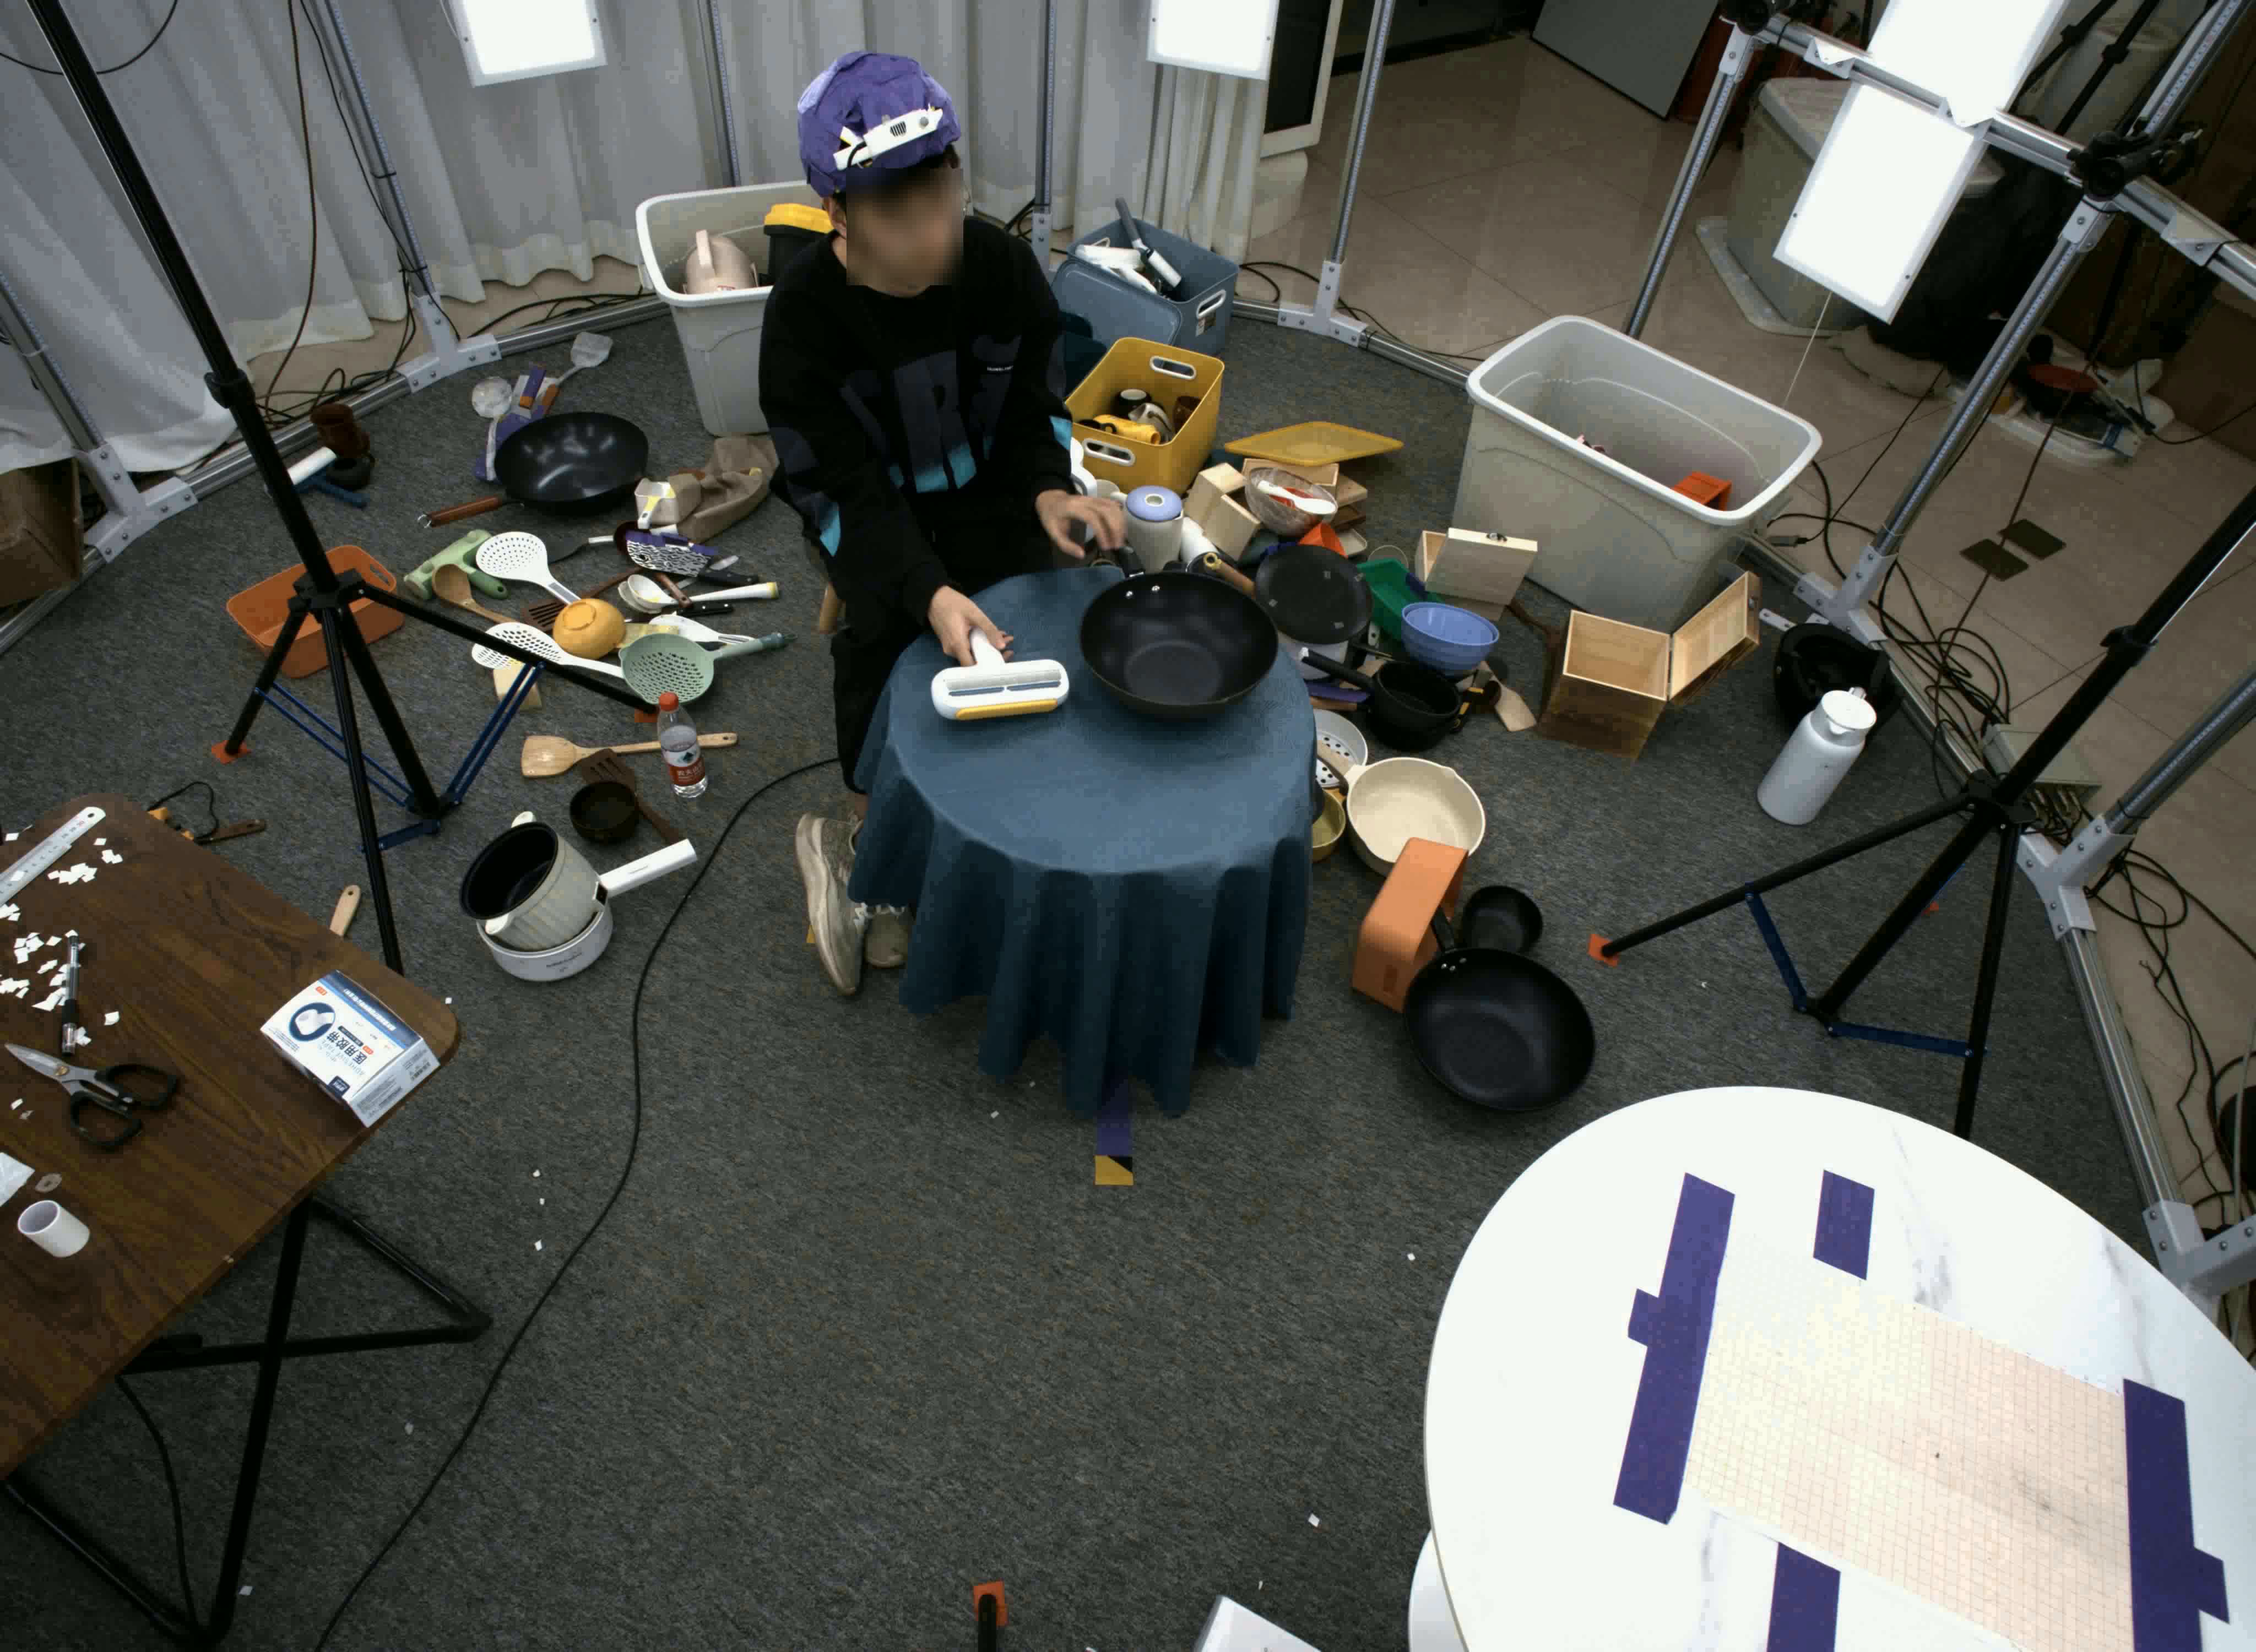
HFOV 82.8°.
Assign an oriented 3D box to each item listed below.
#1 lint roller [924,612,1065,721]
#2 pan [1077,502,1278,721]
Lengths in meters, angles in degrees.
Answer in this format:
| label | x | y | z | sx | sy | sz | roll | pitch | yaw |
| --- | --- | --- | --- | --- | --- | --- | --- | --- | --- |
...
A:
| label | x | y | z | sx | sy | sz | roll | pitch | yaw |
| --- | --- | --- | --- | --- | --- | --- | --- | --- | --- |
| lint roller | -0.197 | -0.234 | 1.800 | 0.192 | 0.072 | 0.196 | -7 | 60 | -15 |
| pan | 0.034 | -0.309 | 1.885 | 0.288 | 0.085 | 0.474 | -15 | 52 | -16 |
